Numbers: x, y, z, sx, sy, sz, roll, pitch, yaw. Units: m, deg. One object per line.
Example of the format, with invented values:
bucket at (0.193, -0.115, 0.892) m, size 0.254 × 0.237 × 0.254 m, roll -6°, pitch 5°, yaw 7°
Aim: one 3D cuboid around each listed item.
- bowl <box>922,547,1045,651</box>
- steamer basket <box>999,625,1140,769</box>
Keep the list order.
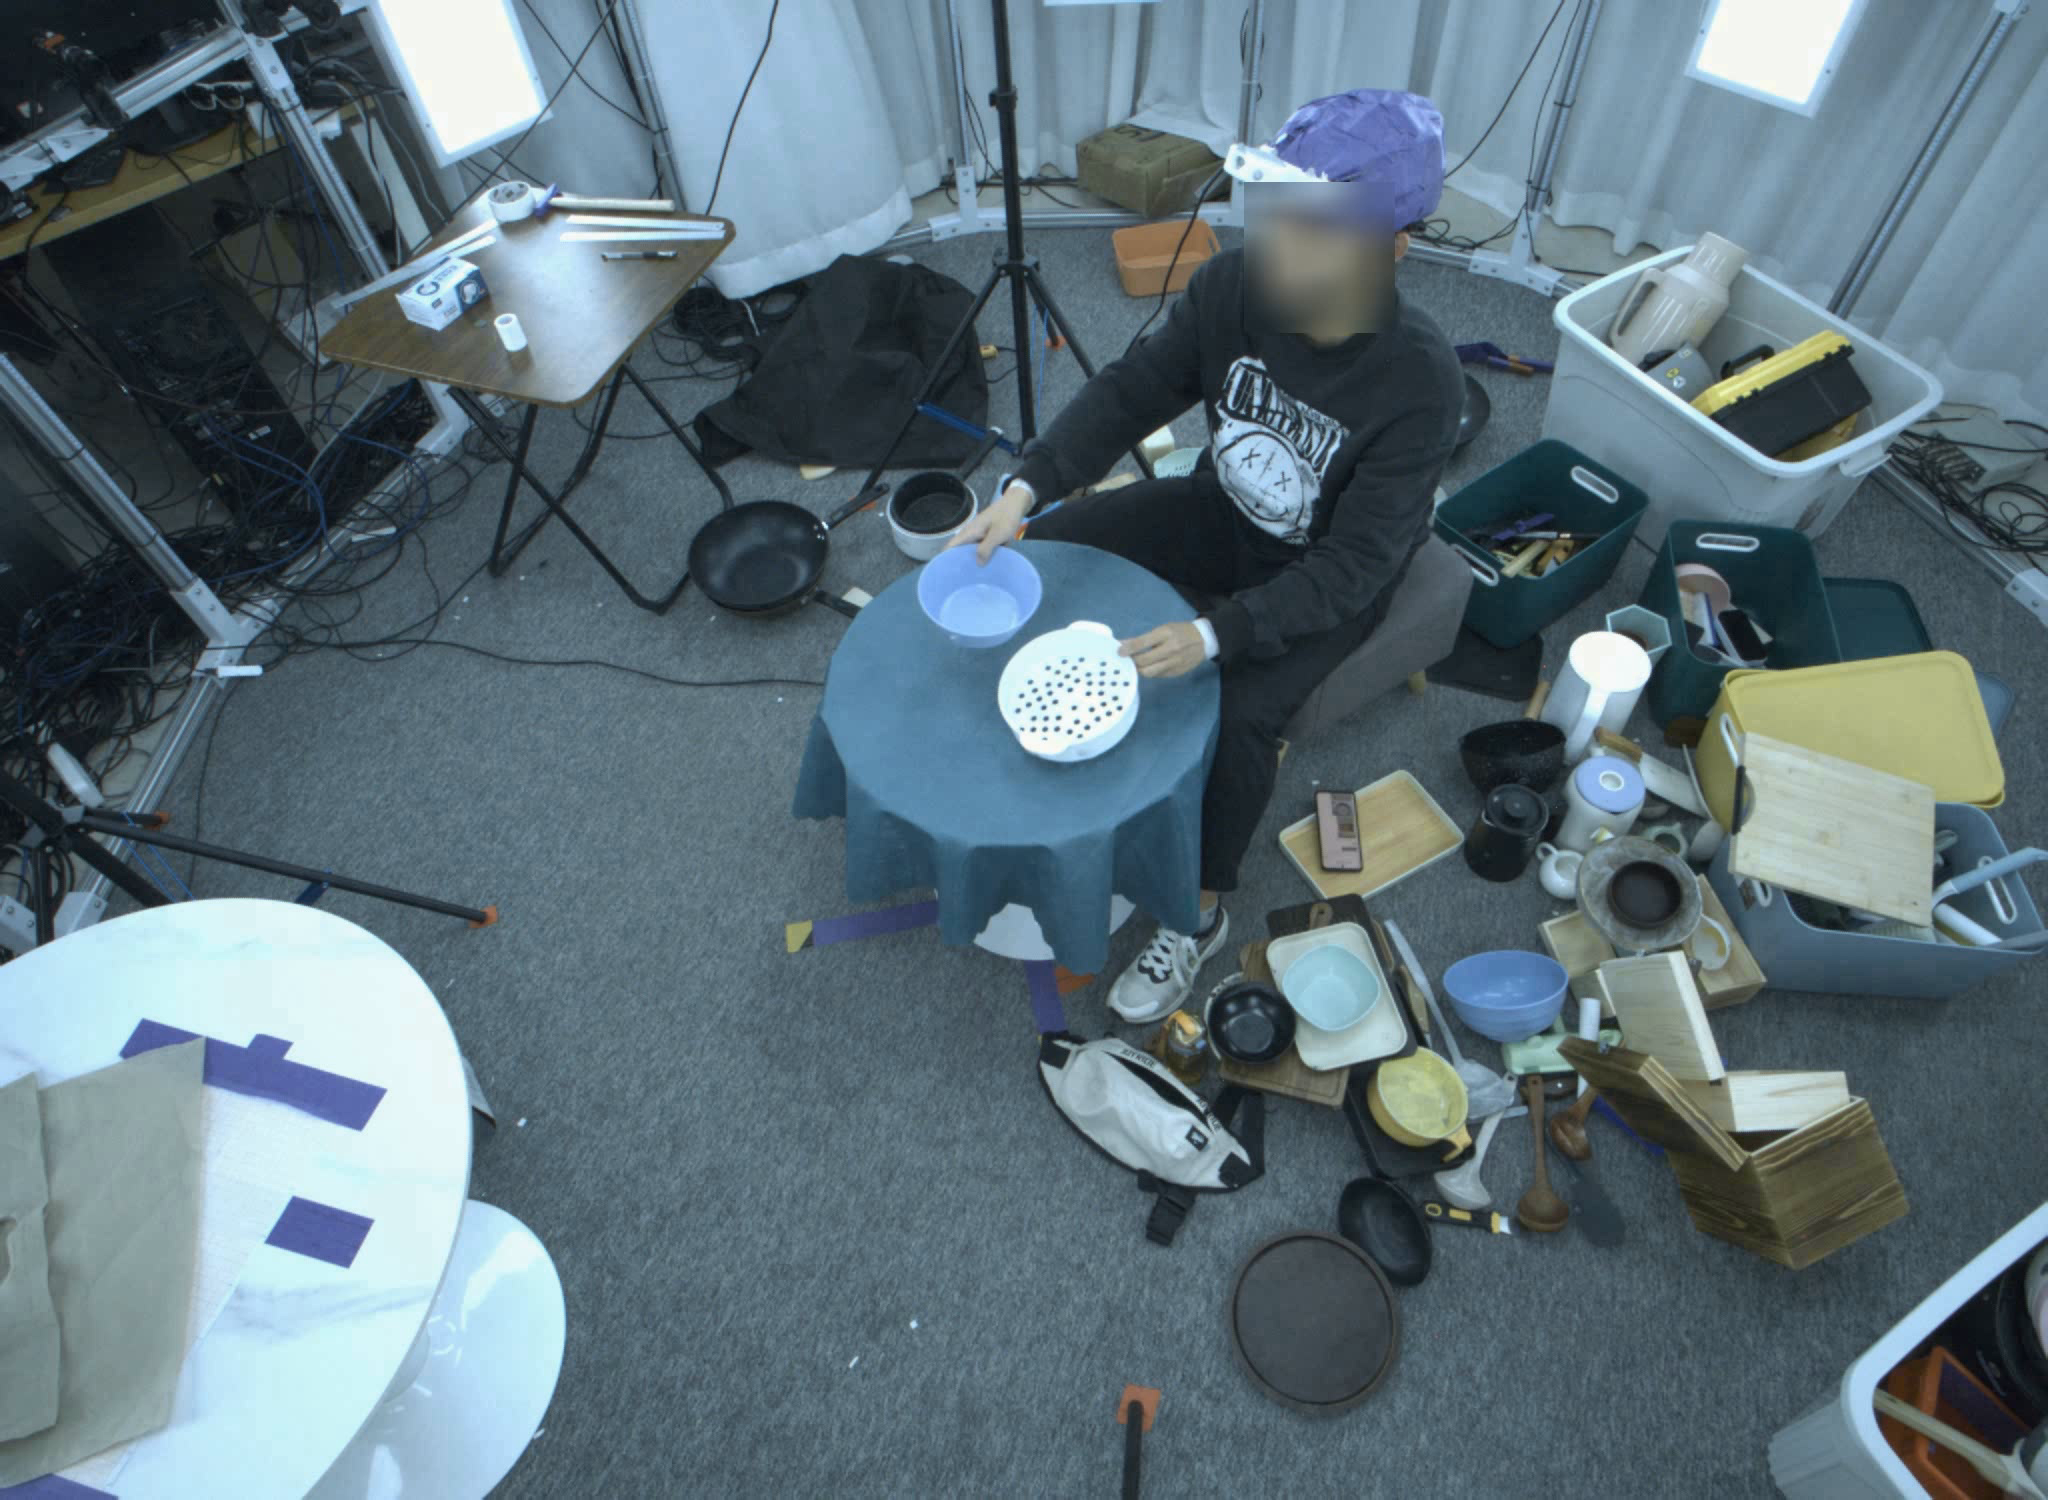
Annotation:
bowl at (-0.059, -0.208, 1.772) m, size 0.176 × 0.071 × 0.174 m, roll 2°, pitch 57°, yaw -3°
steamer basket at (0.068, -0.070, 1.783) m, size 0.199 × 0.070 × 0.230 m, roll 12°, pitch 65°, yaw 18°
